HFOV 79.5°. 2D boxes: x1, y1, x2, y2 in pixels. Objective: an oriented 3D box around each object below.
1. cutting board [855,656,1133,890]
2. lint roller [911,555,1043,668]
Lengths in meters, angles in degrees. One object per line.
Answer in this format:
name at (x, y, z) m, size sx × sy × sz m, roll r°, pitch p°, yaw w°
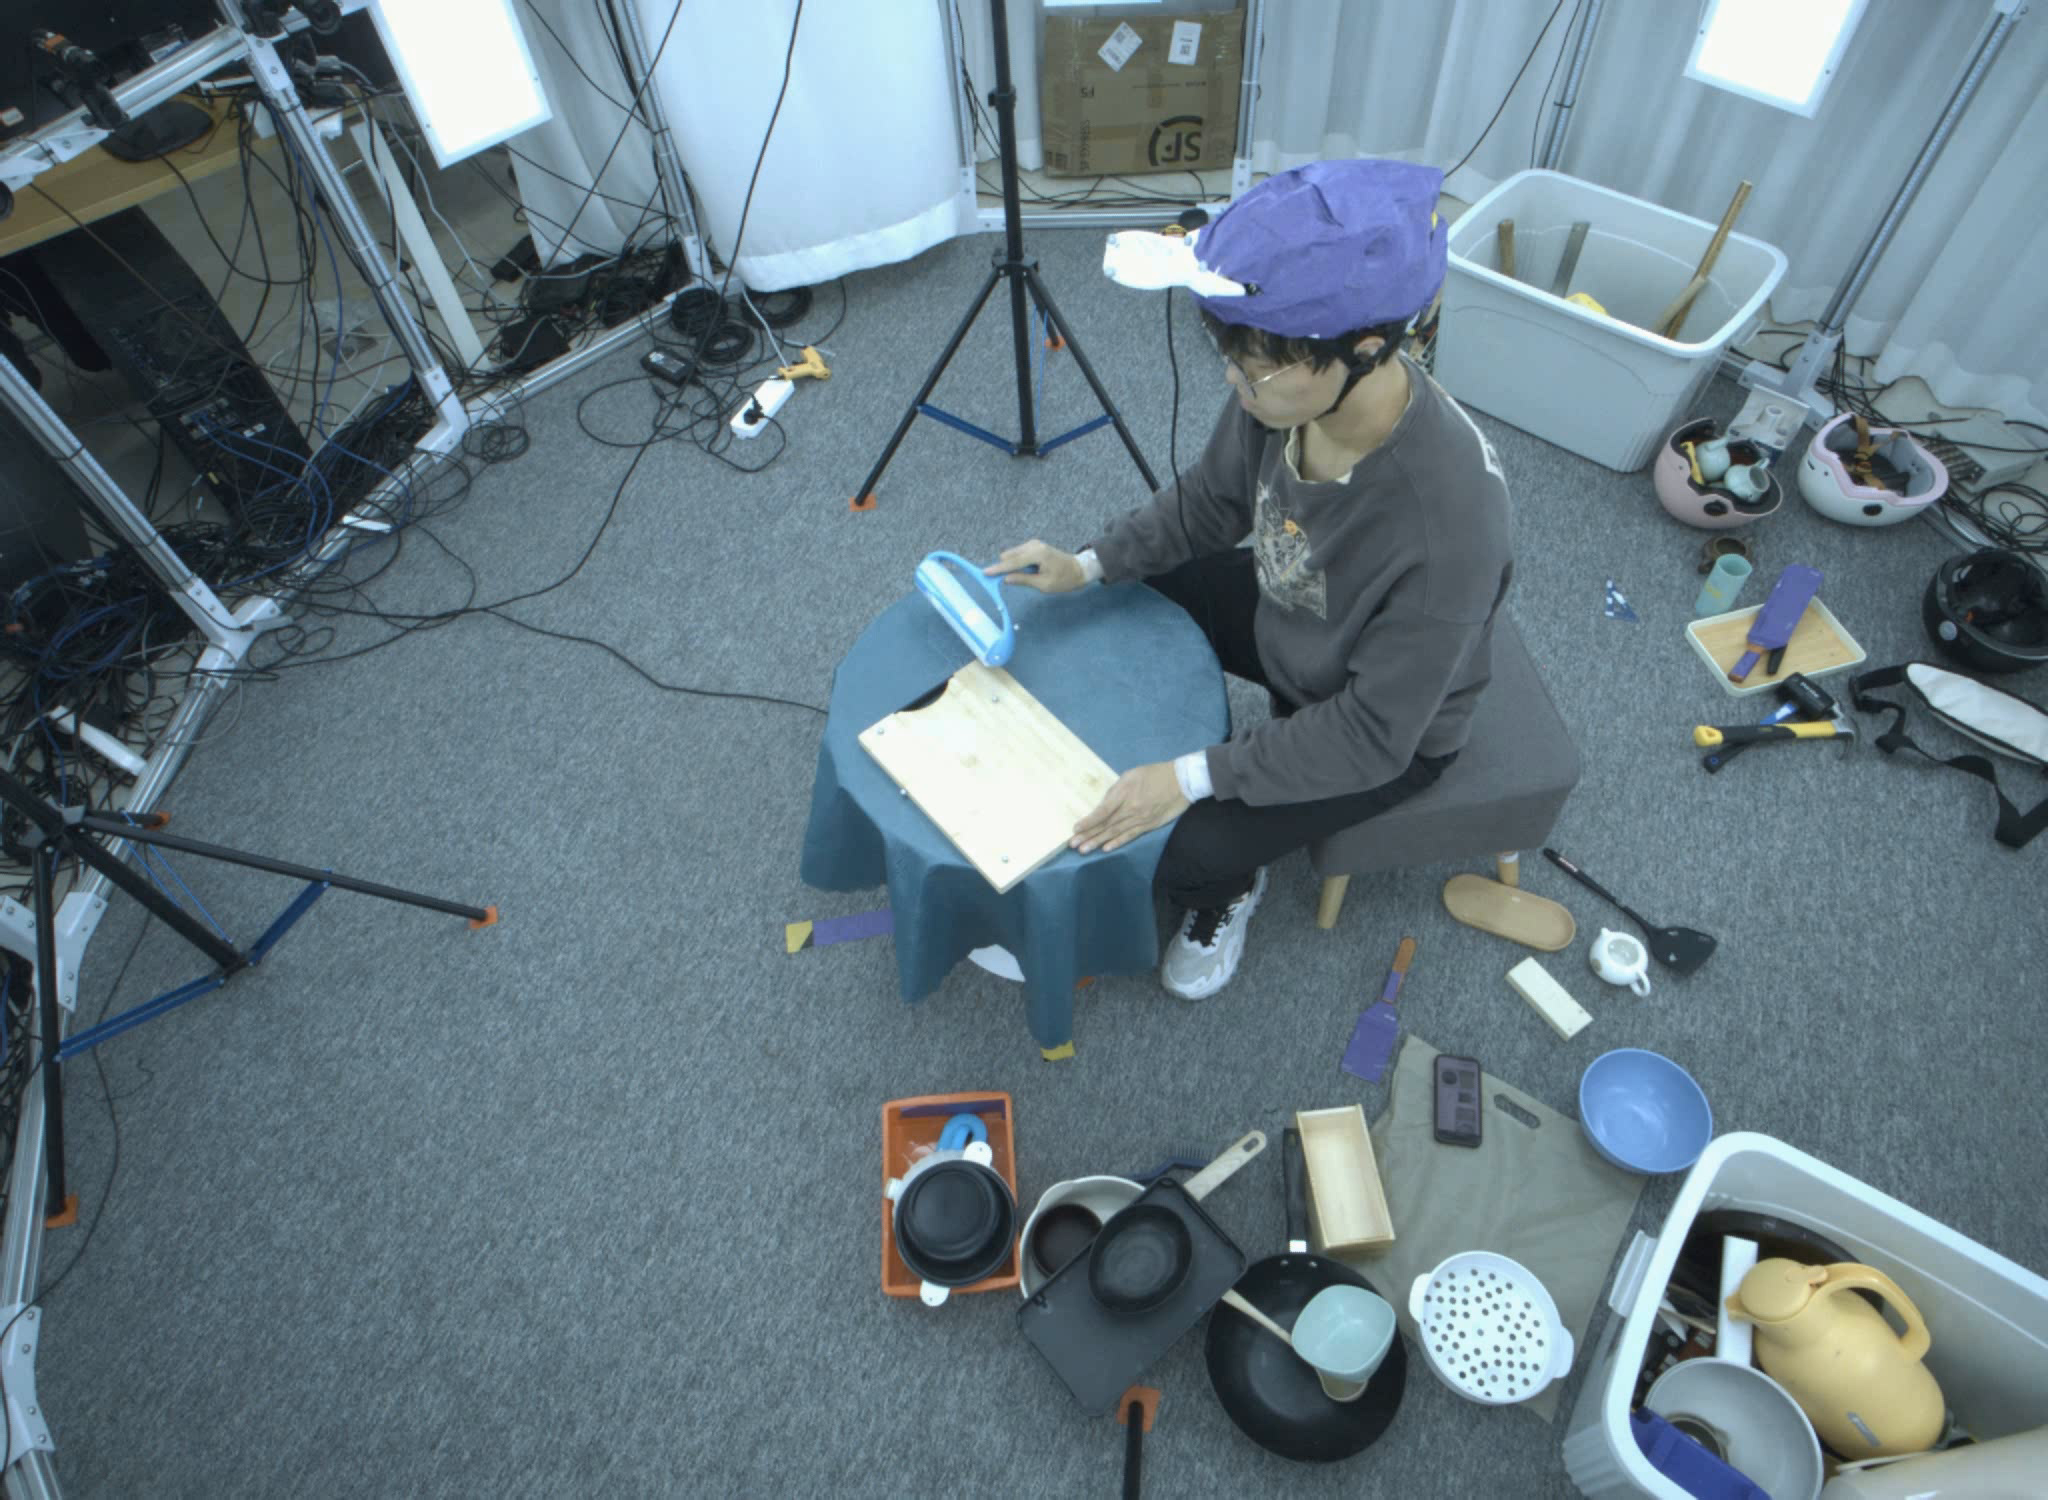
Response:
cutting board at (-0.048, 0.019, 1.763) m, size 0.253 × 0.024 × 0.342 m, roll -35°, pitch 61°, yaw -22°
lint roller at (-0.050, -0.242, 1.867) m, size 0.181 × 0.069 × 0.225 m, roll -39°, pitch 64°, yaw -12°
